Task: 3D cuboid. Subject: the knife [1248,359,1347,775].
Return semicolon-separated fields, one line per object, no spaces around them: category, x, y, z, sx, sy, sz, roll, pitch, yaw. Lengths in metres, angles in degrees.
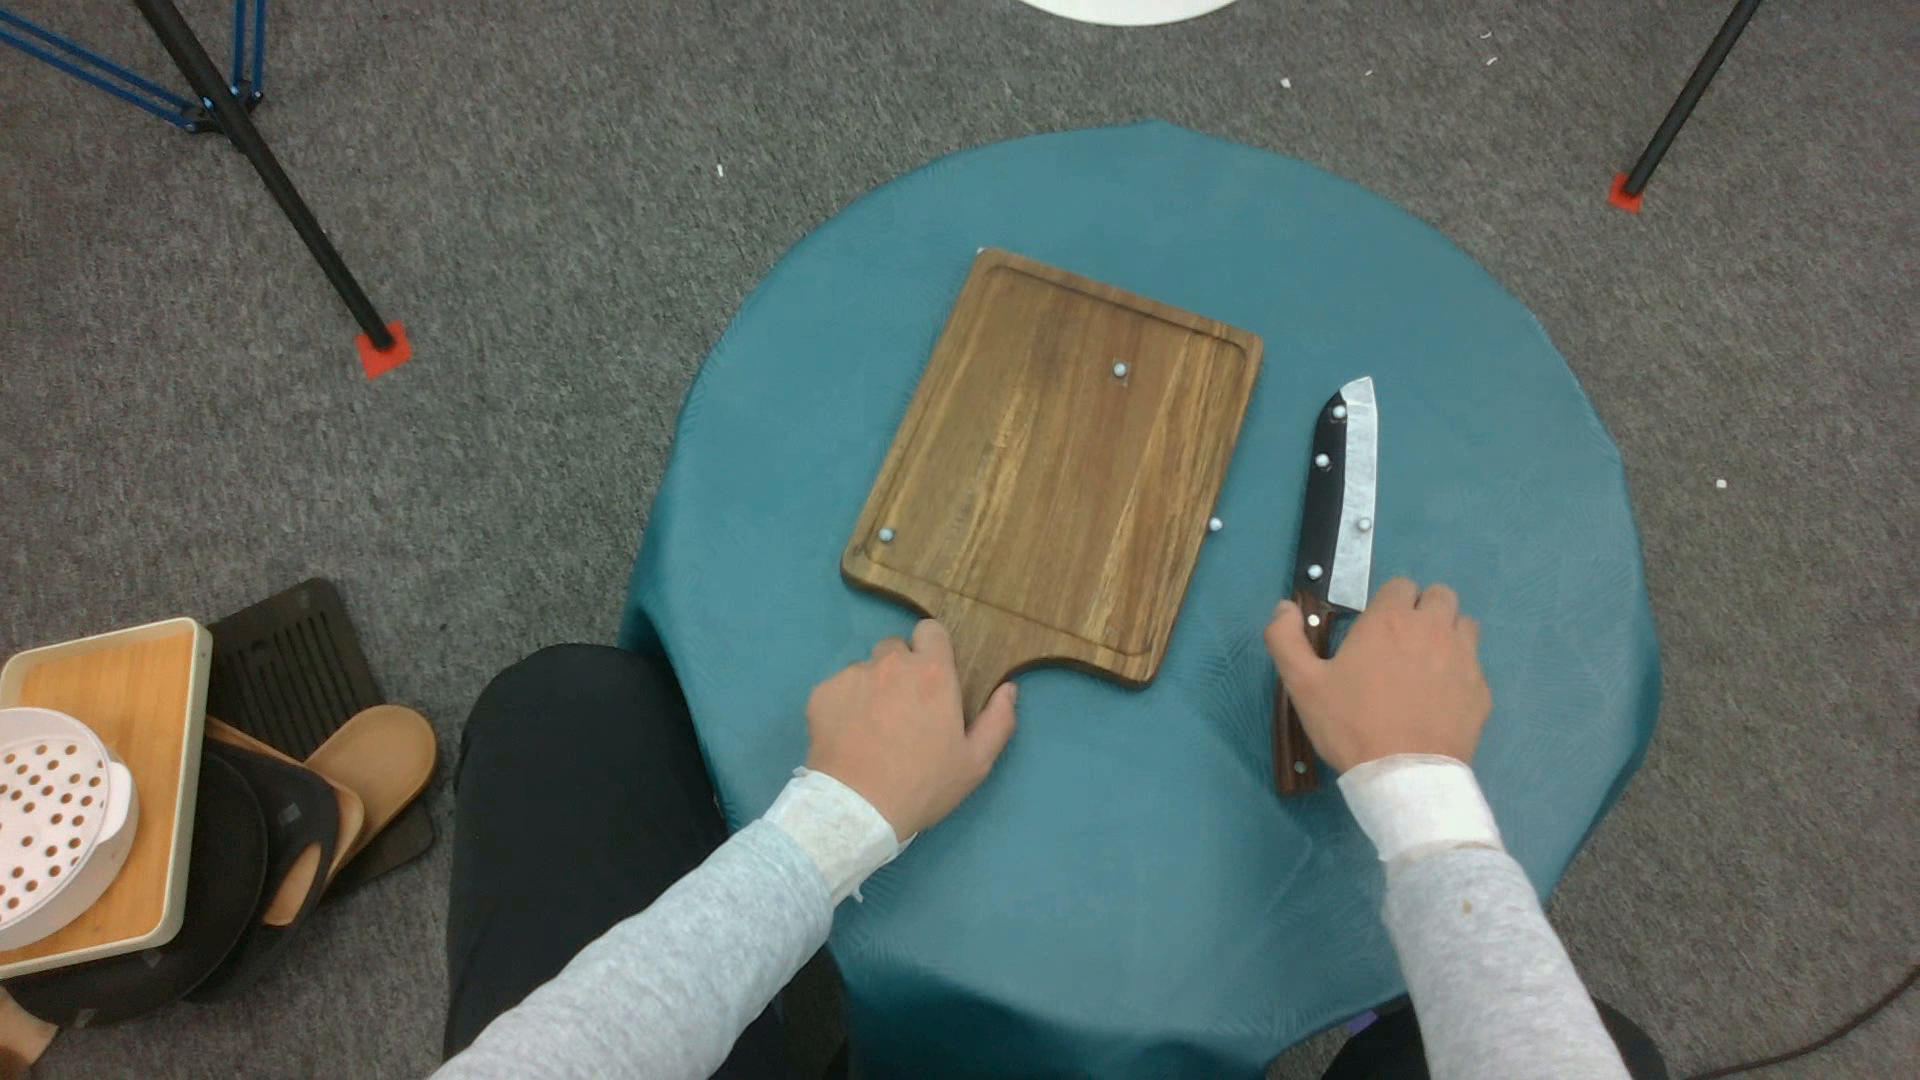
knife;0.205;0.006;0.827;0.050;0.020;0.290;17;63;-2

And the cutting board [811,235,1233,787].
cutting board;0.027;-0.019;0.822;0.201;0.023;0.353;19;66;5
